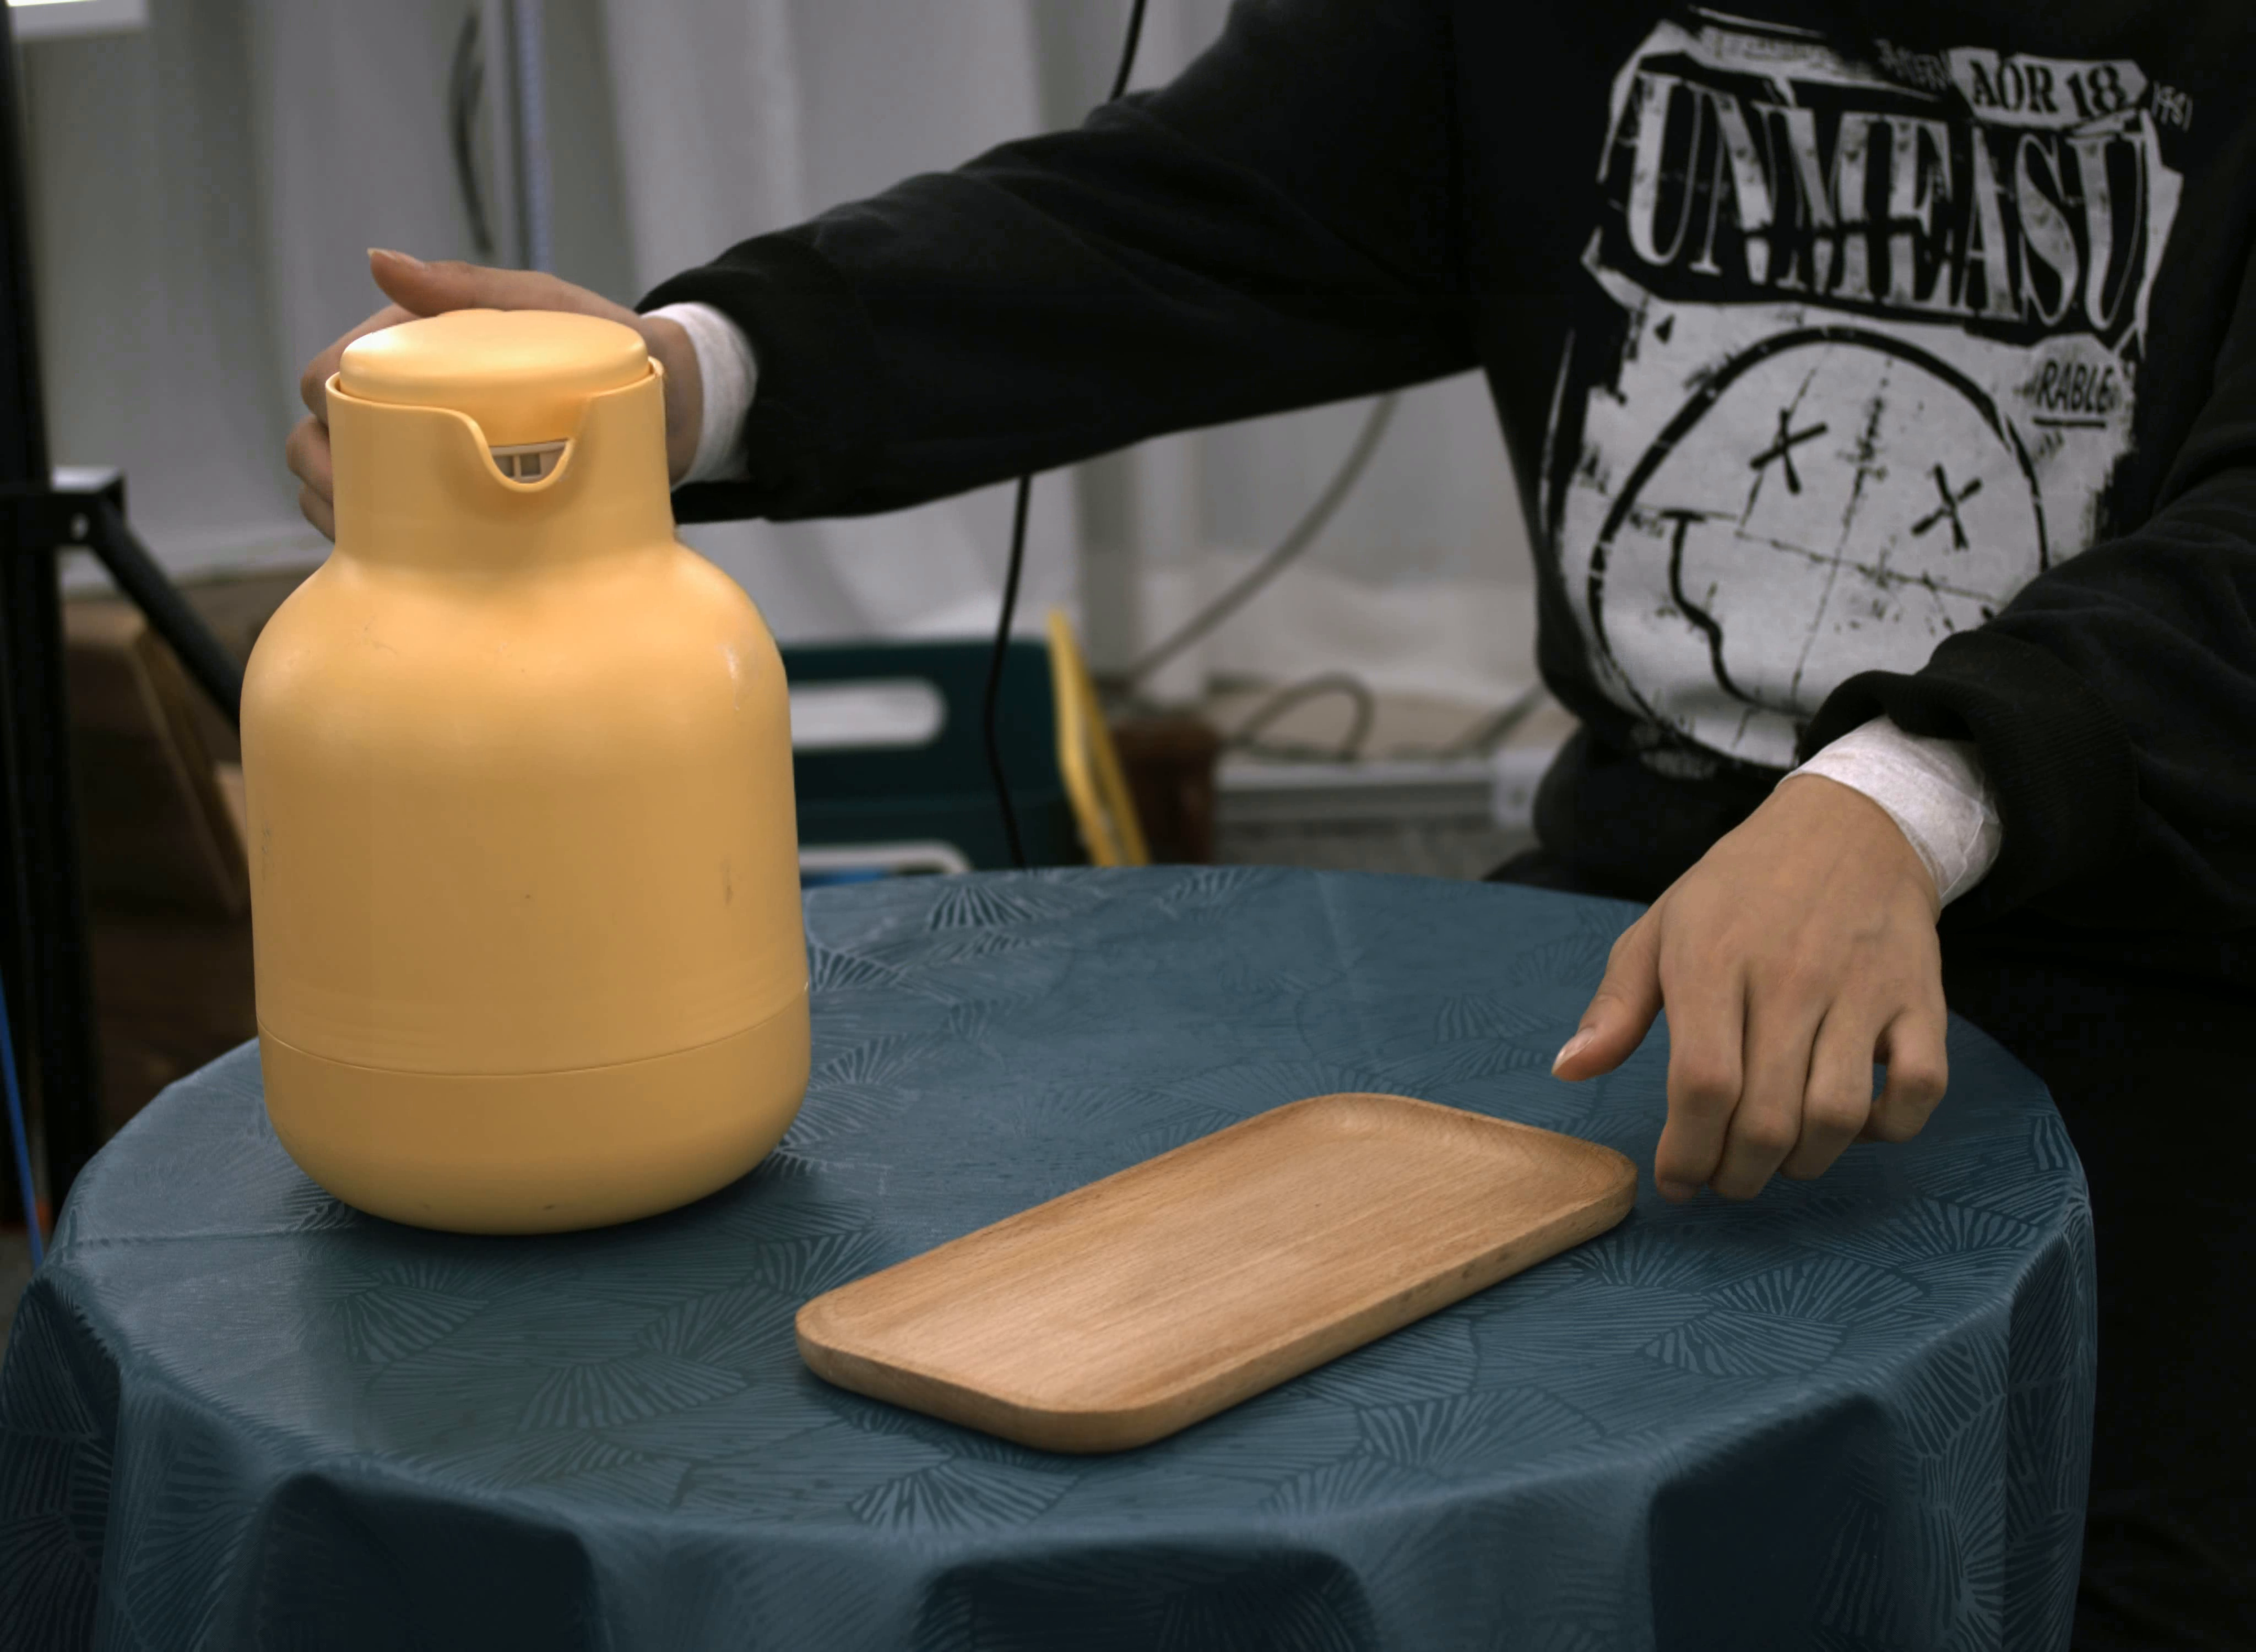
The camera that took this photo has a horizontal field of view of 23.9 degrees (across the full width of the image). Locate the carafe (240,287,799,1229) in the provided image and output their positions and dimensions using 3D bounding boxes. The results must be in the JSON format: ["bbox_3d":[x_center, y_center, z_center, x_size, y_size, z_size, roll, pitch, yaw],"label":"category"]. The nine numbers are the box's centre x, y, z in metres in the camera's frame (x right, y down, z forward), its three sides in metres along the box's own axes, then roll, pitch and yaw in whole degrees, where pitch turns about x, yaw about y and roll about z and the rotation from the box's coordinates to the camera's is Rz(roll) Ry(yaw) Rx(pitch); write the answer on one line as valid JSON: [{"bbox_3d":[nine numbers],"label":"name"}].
[{"bbox_3d":[-0.181,-0.028,1.583,0.161,0.260,0.205,-2,17,-9],"label":"carafe"}]

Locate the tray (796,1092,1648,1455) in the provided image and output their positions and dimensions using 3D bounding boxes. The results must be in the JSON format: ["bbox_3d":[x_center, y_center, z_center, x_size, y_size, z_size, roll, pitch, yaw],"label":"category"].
[{"bbox_3d":[0.030,0.121,1.471,0.133,0.023,0.245,15,23,42],"label":"tray"}]
